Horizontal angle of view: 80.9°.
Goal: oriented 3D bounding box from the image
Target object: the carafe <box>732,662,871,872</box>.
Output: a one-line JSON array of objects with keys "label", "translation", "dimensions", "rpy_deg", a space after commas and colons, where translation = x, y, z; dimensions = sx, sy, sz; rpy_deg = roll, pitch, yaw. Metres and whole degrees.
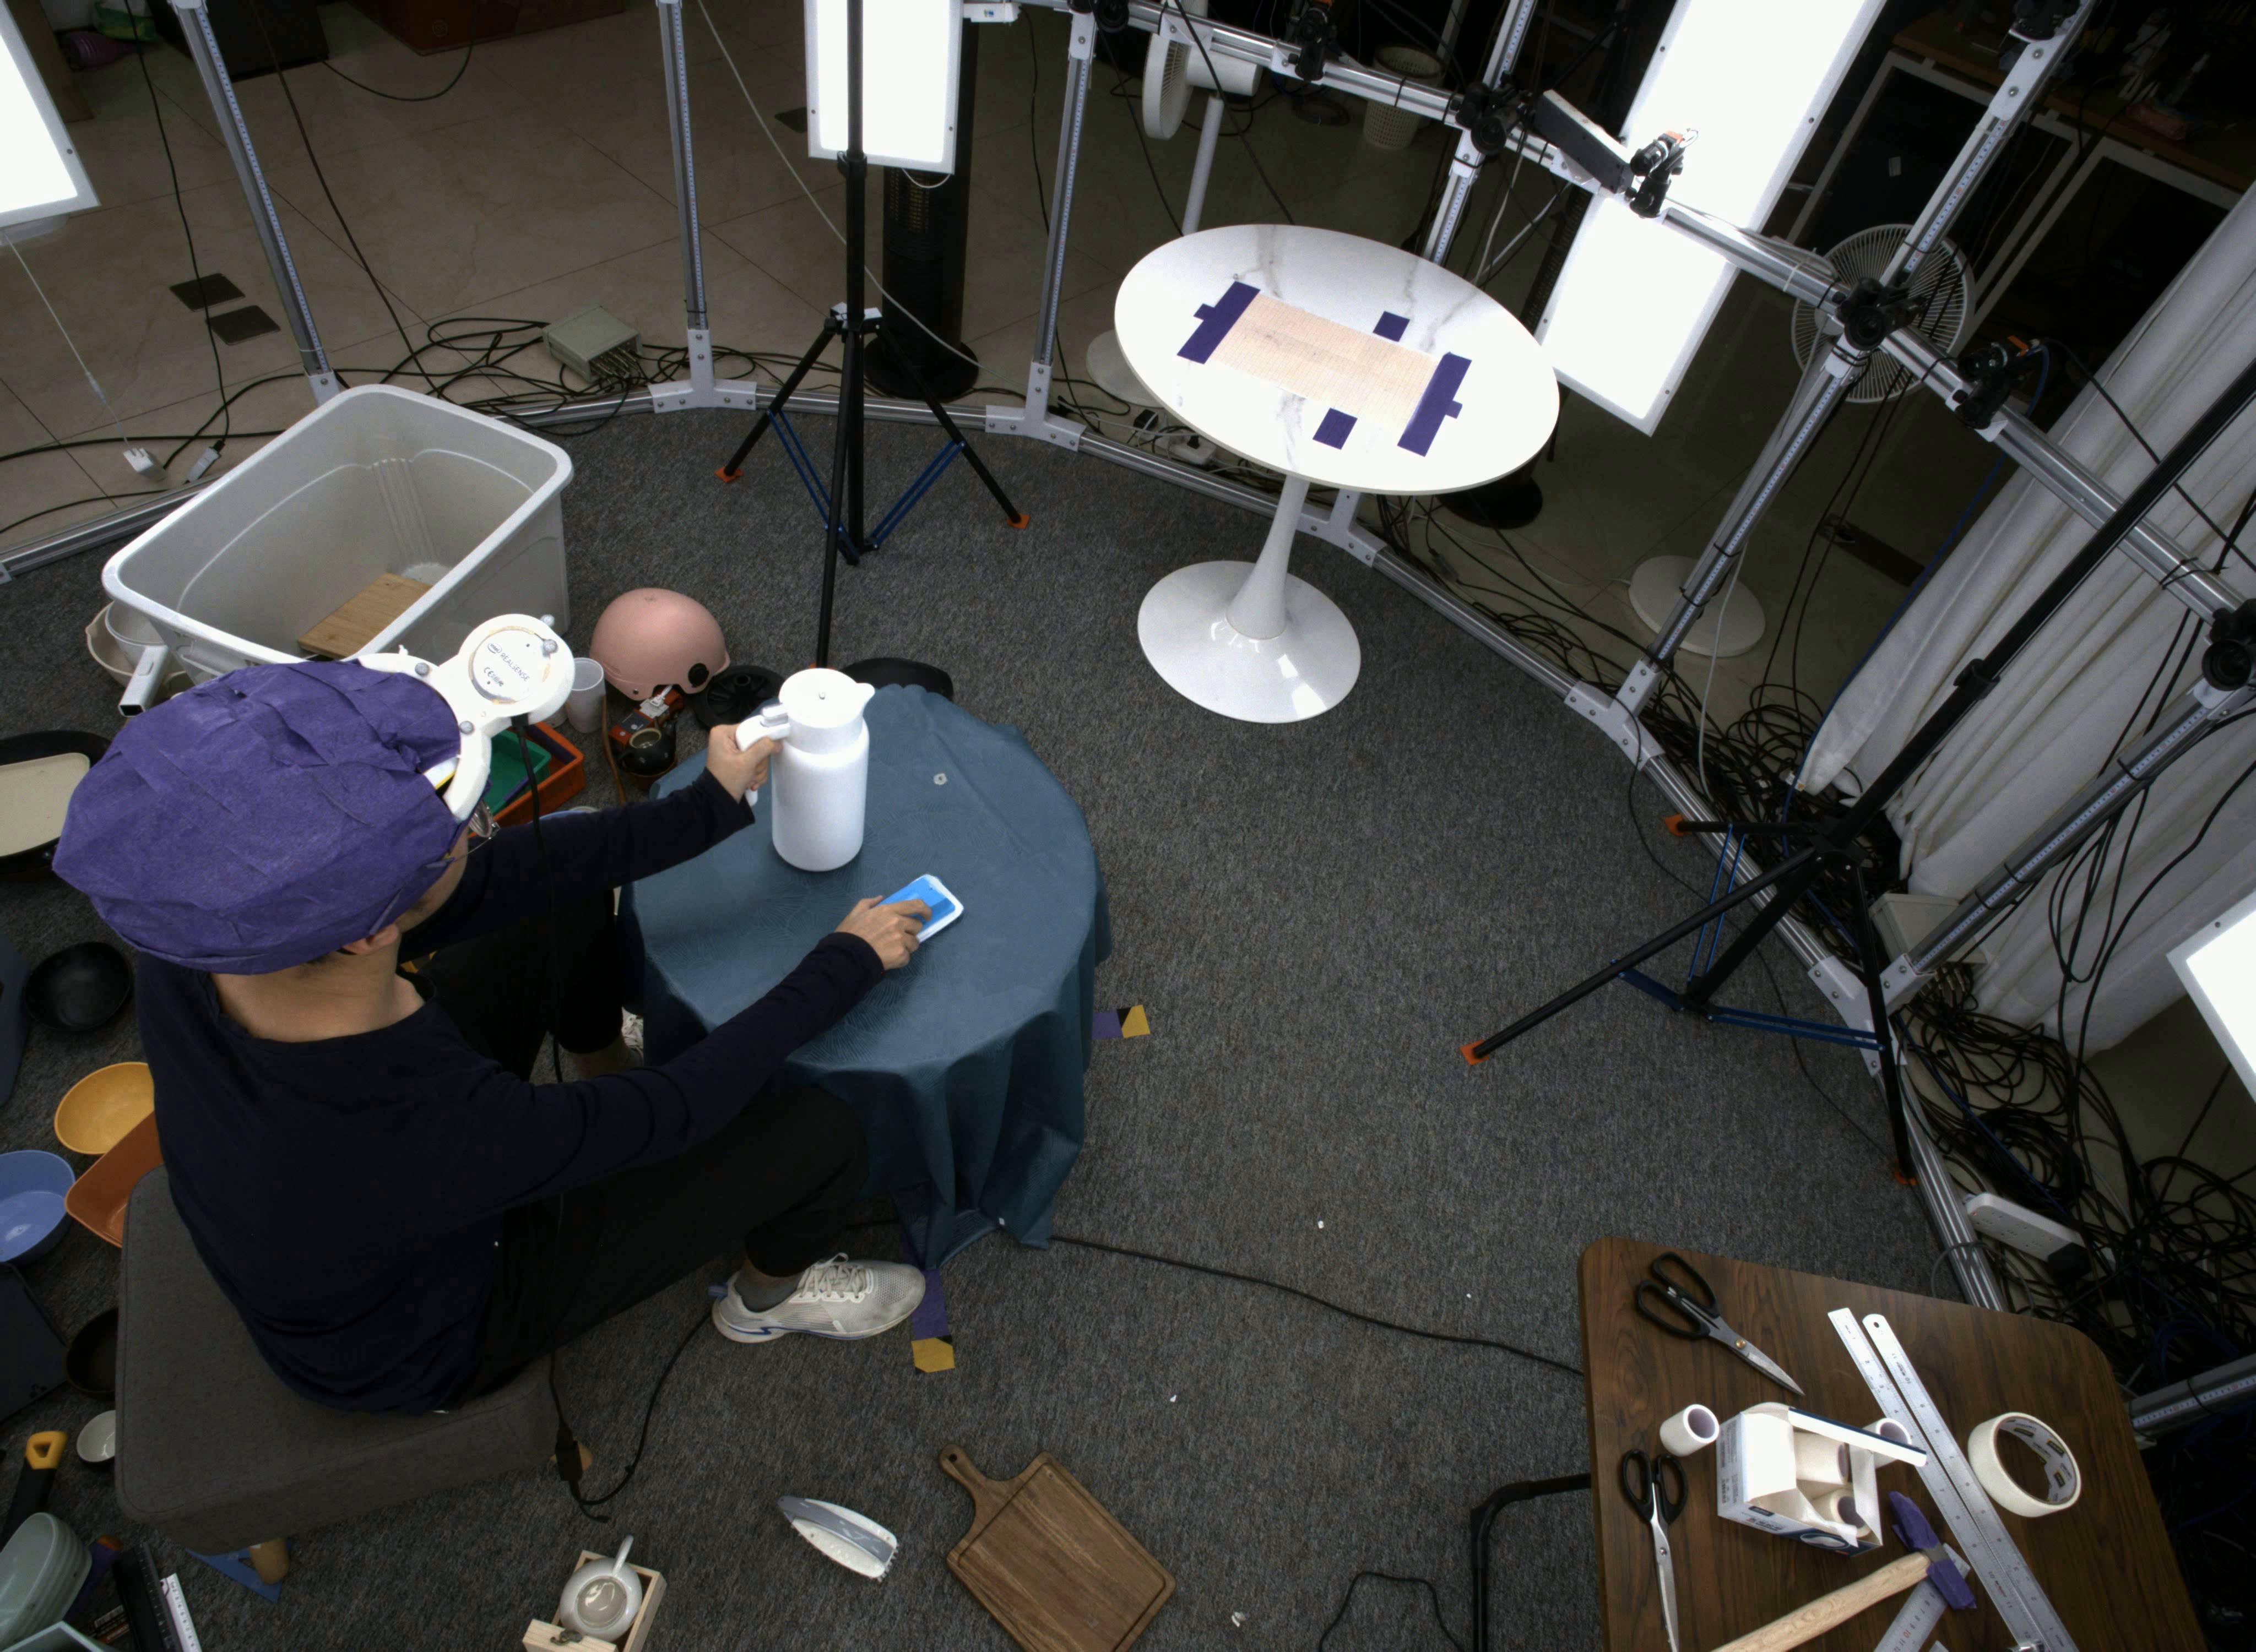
[{"label": "carafe", "translation": [-0.399, -0.064, 1.603], "dimensions": [0.174, 0.274, 0.120], "rpy_deg": [-23, 60, -29]}]

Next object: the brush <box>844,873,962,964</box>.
[{"label": "brush", "translation": [-0.283, 0.108, 1.640], "dimensions": [0.144, 0.057, 0.081], "rpy_deg": [-31, 61, -34]}]
